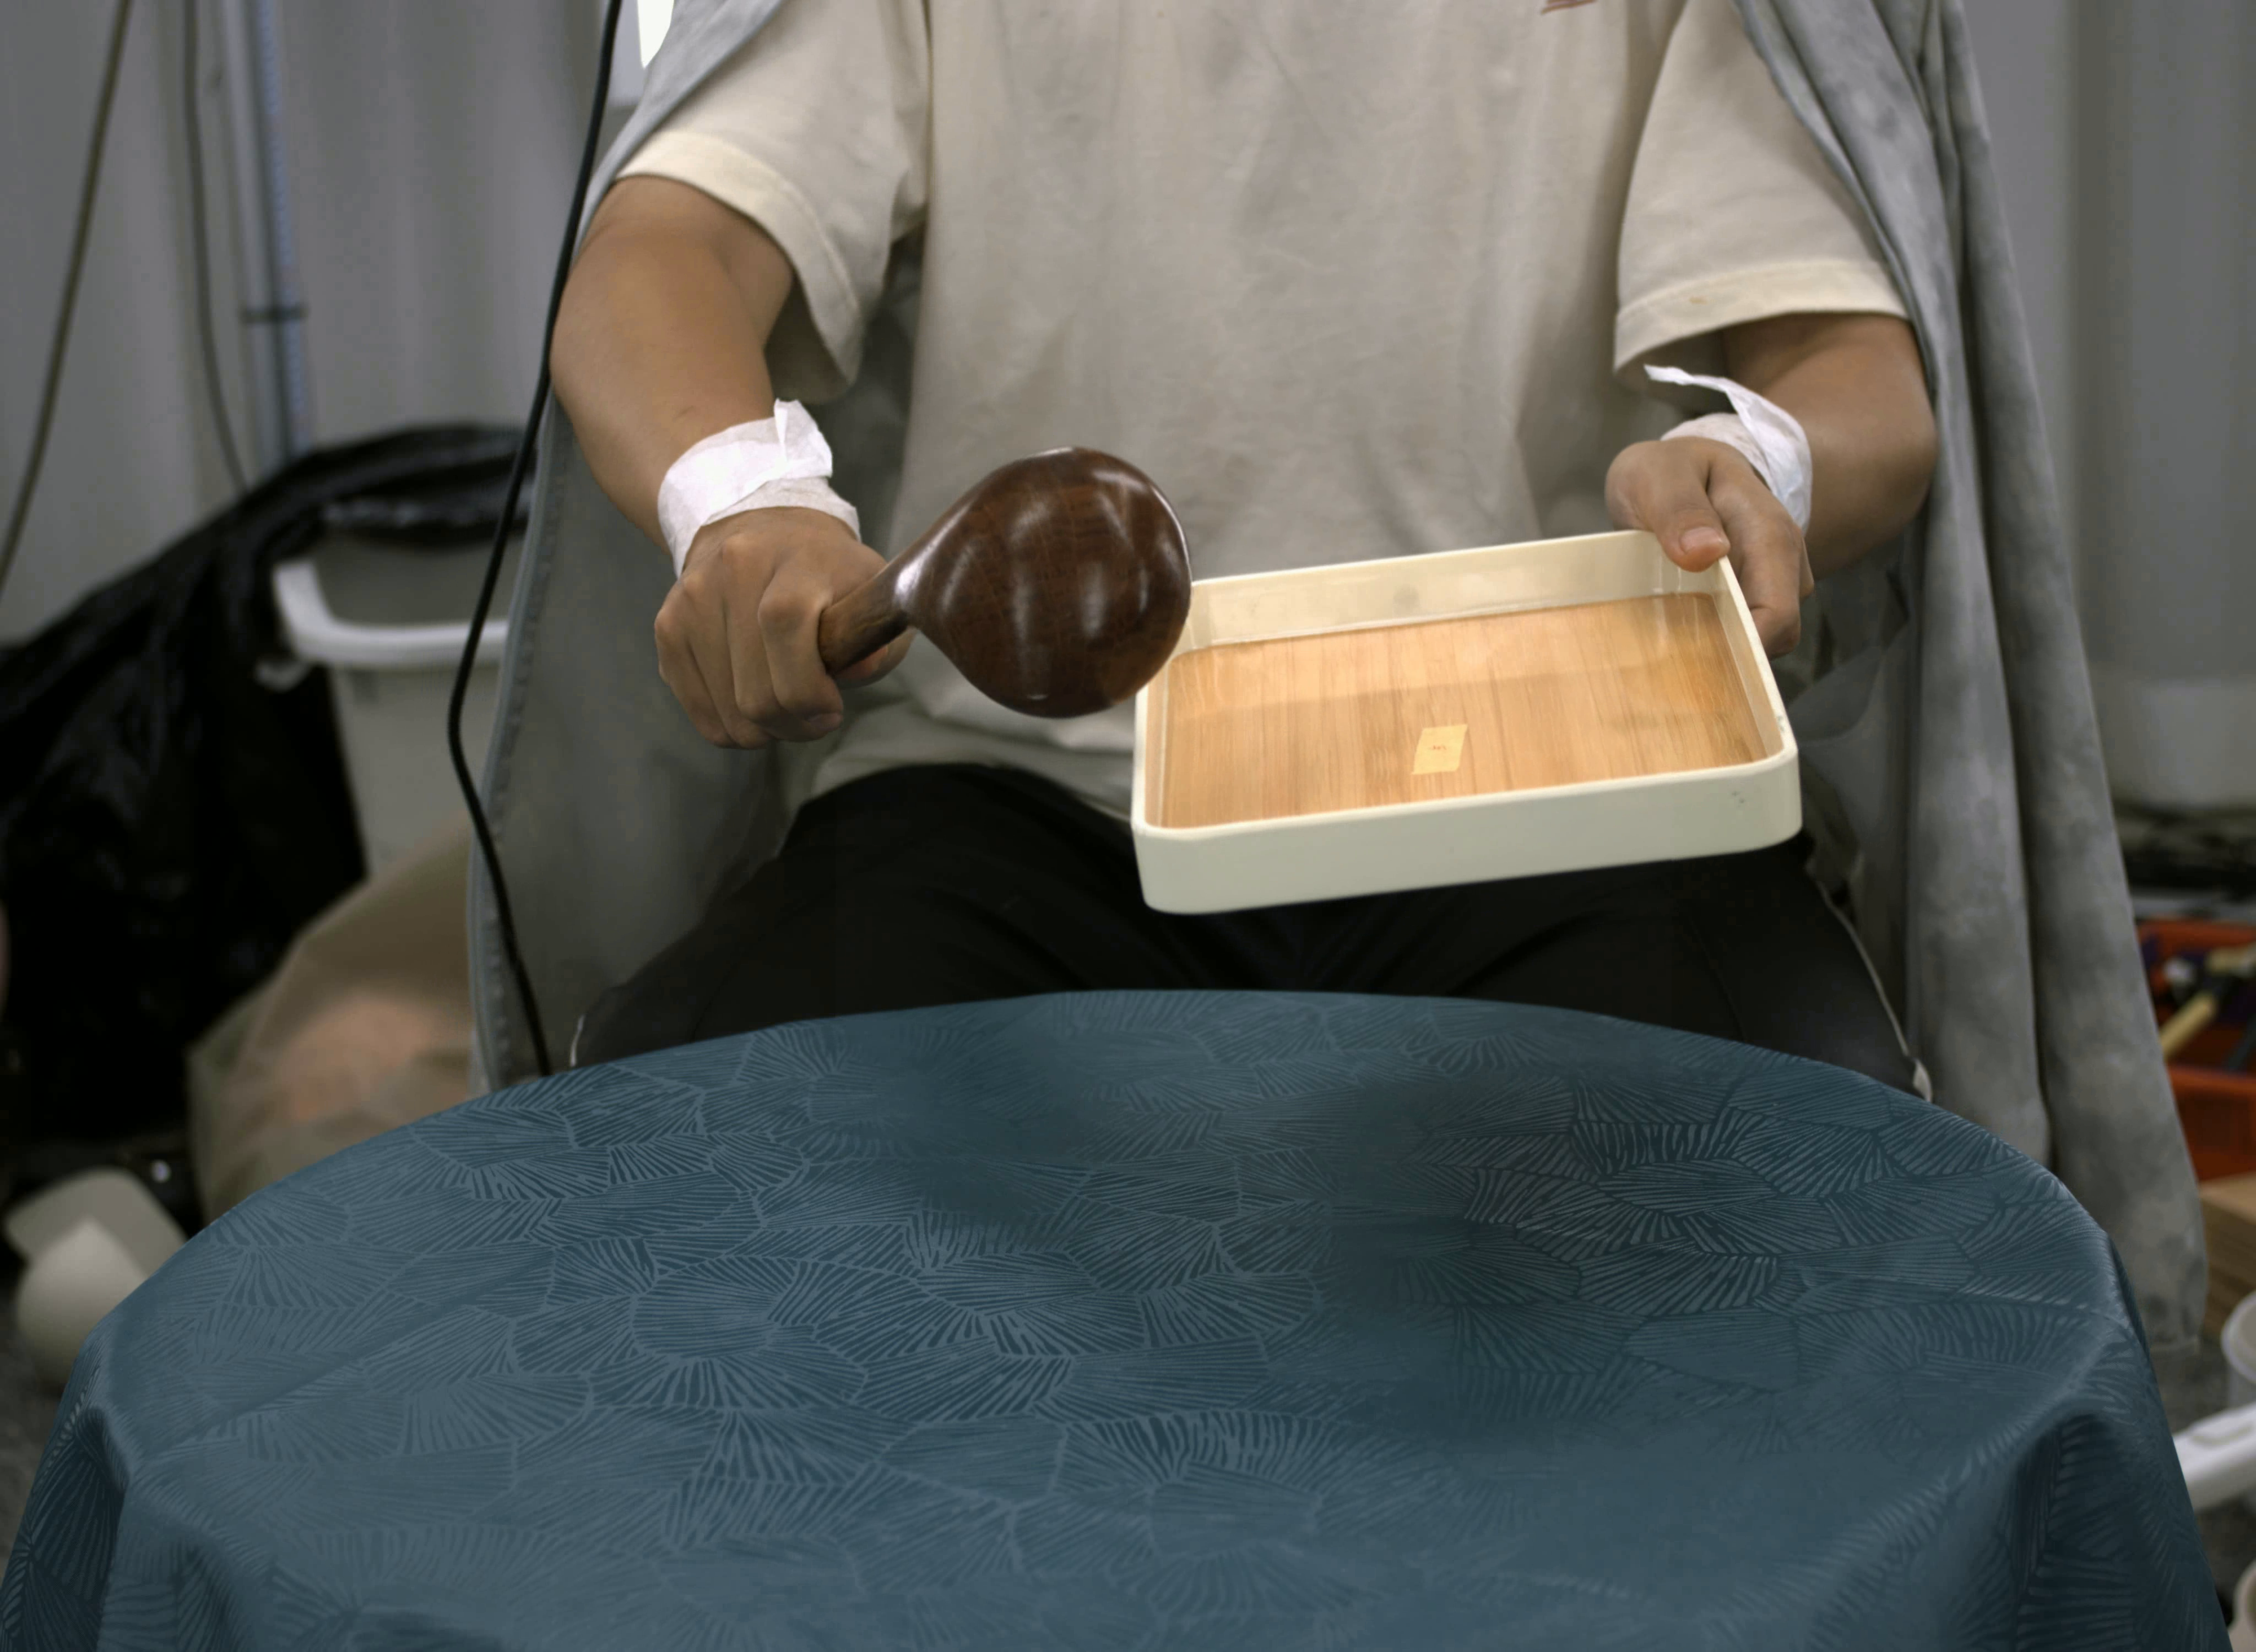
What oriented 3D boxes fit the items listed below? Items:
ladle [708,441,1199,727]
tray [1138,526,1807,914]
[{"bbox_3d":[-0.057,-0.060,1.705,0.076,0.082,0.273,14,-13,-18],"label":"ladle"},{"bbox_3d":[0.100,-0.036,1.678,0.191,0.027,0.302,-7,16,3],"label":"tray"}]
